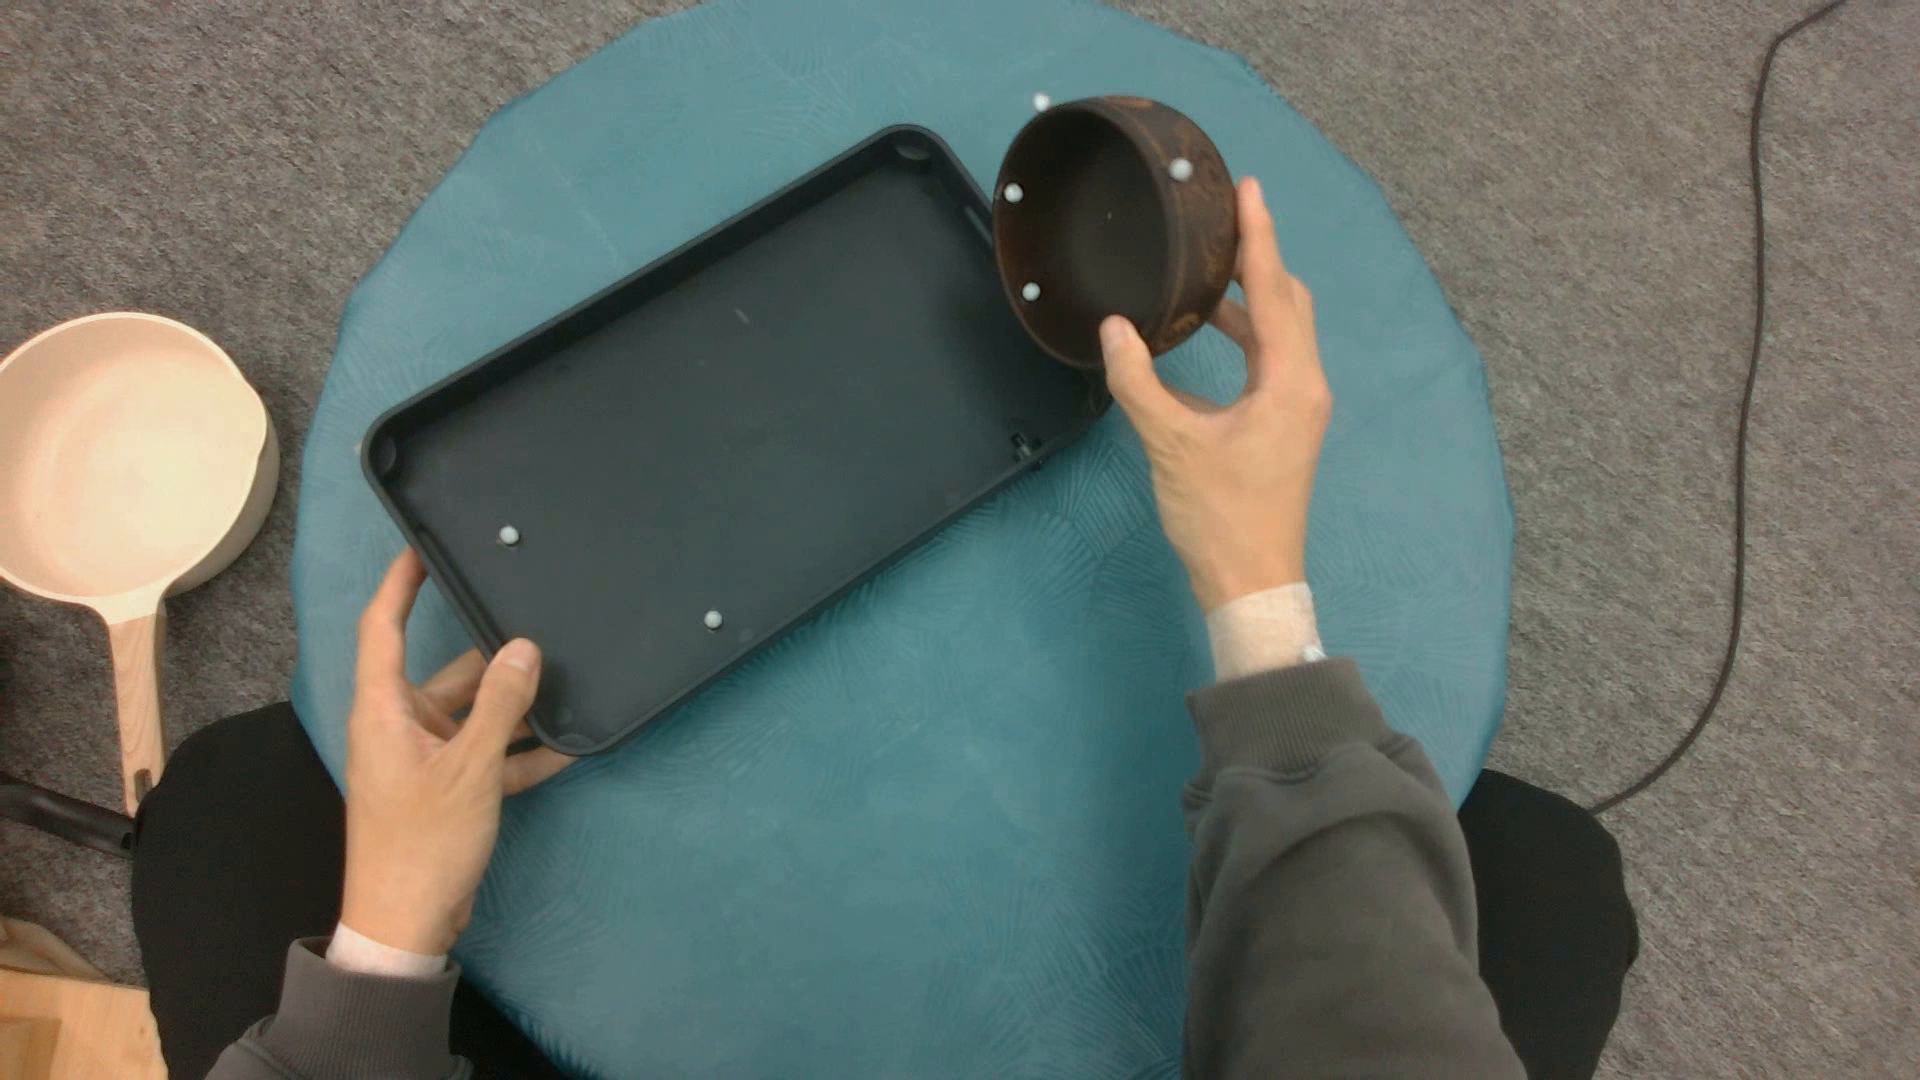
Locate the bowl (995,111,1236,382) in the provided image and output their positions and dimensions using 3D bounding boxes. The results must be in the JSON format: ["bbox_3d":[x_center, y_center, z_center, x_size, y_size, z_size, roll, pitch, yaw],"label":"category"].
[{"bbox_3d":[0.078,-0.135,0.626,0.070,0.117,0.118,-20,77,-32],"label":"bowl"}]

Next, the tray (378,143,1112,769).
[{"bbox_3d":[-0.097,-0.047,0.671,0.319,0.037,0.184,-35,82,-14],"label":"tray"}]
